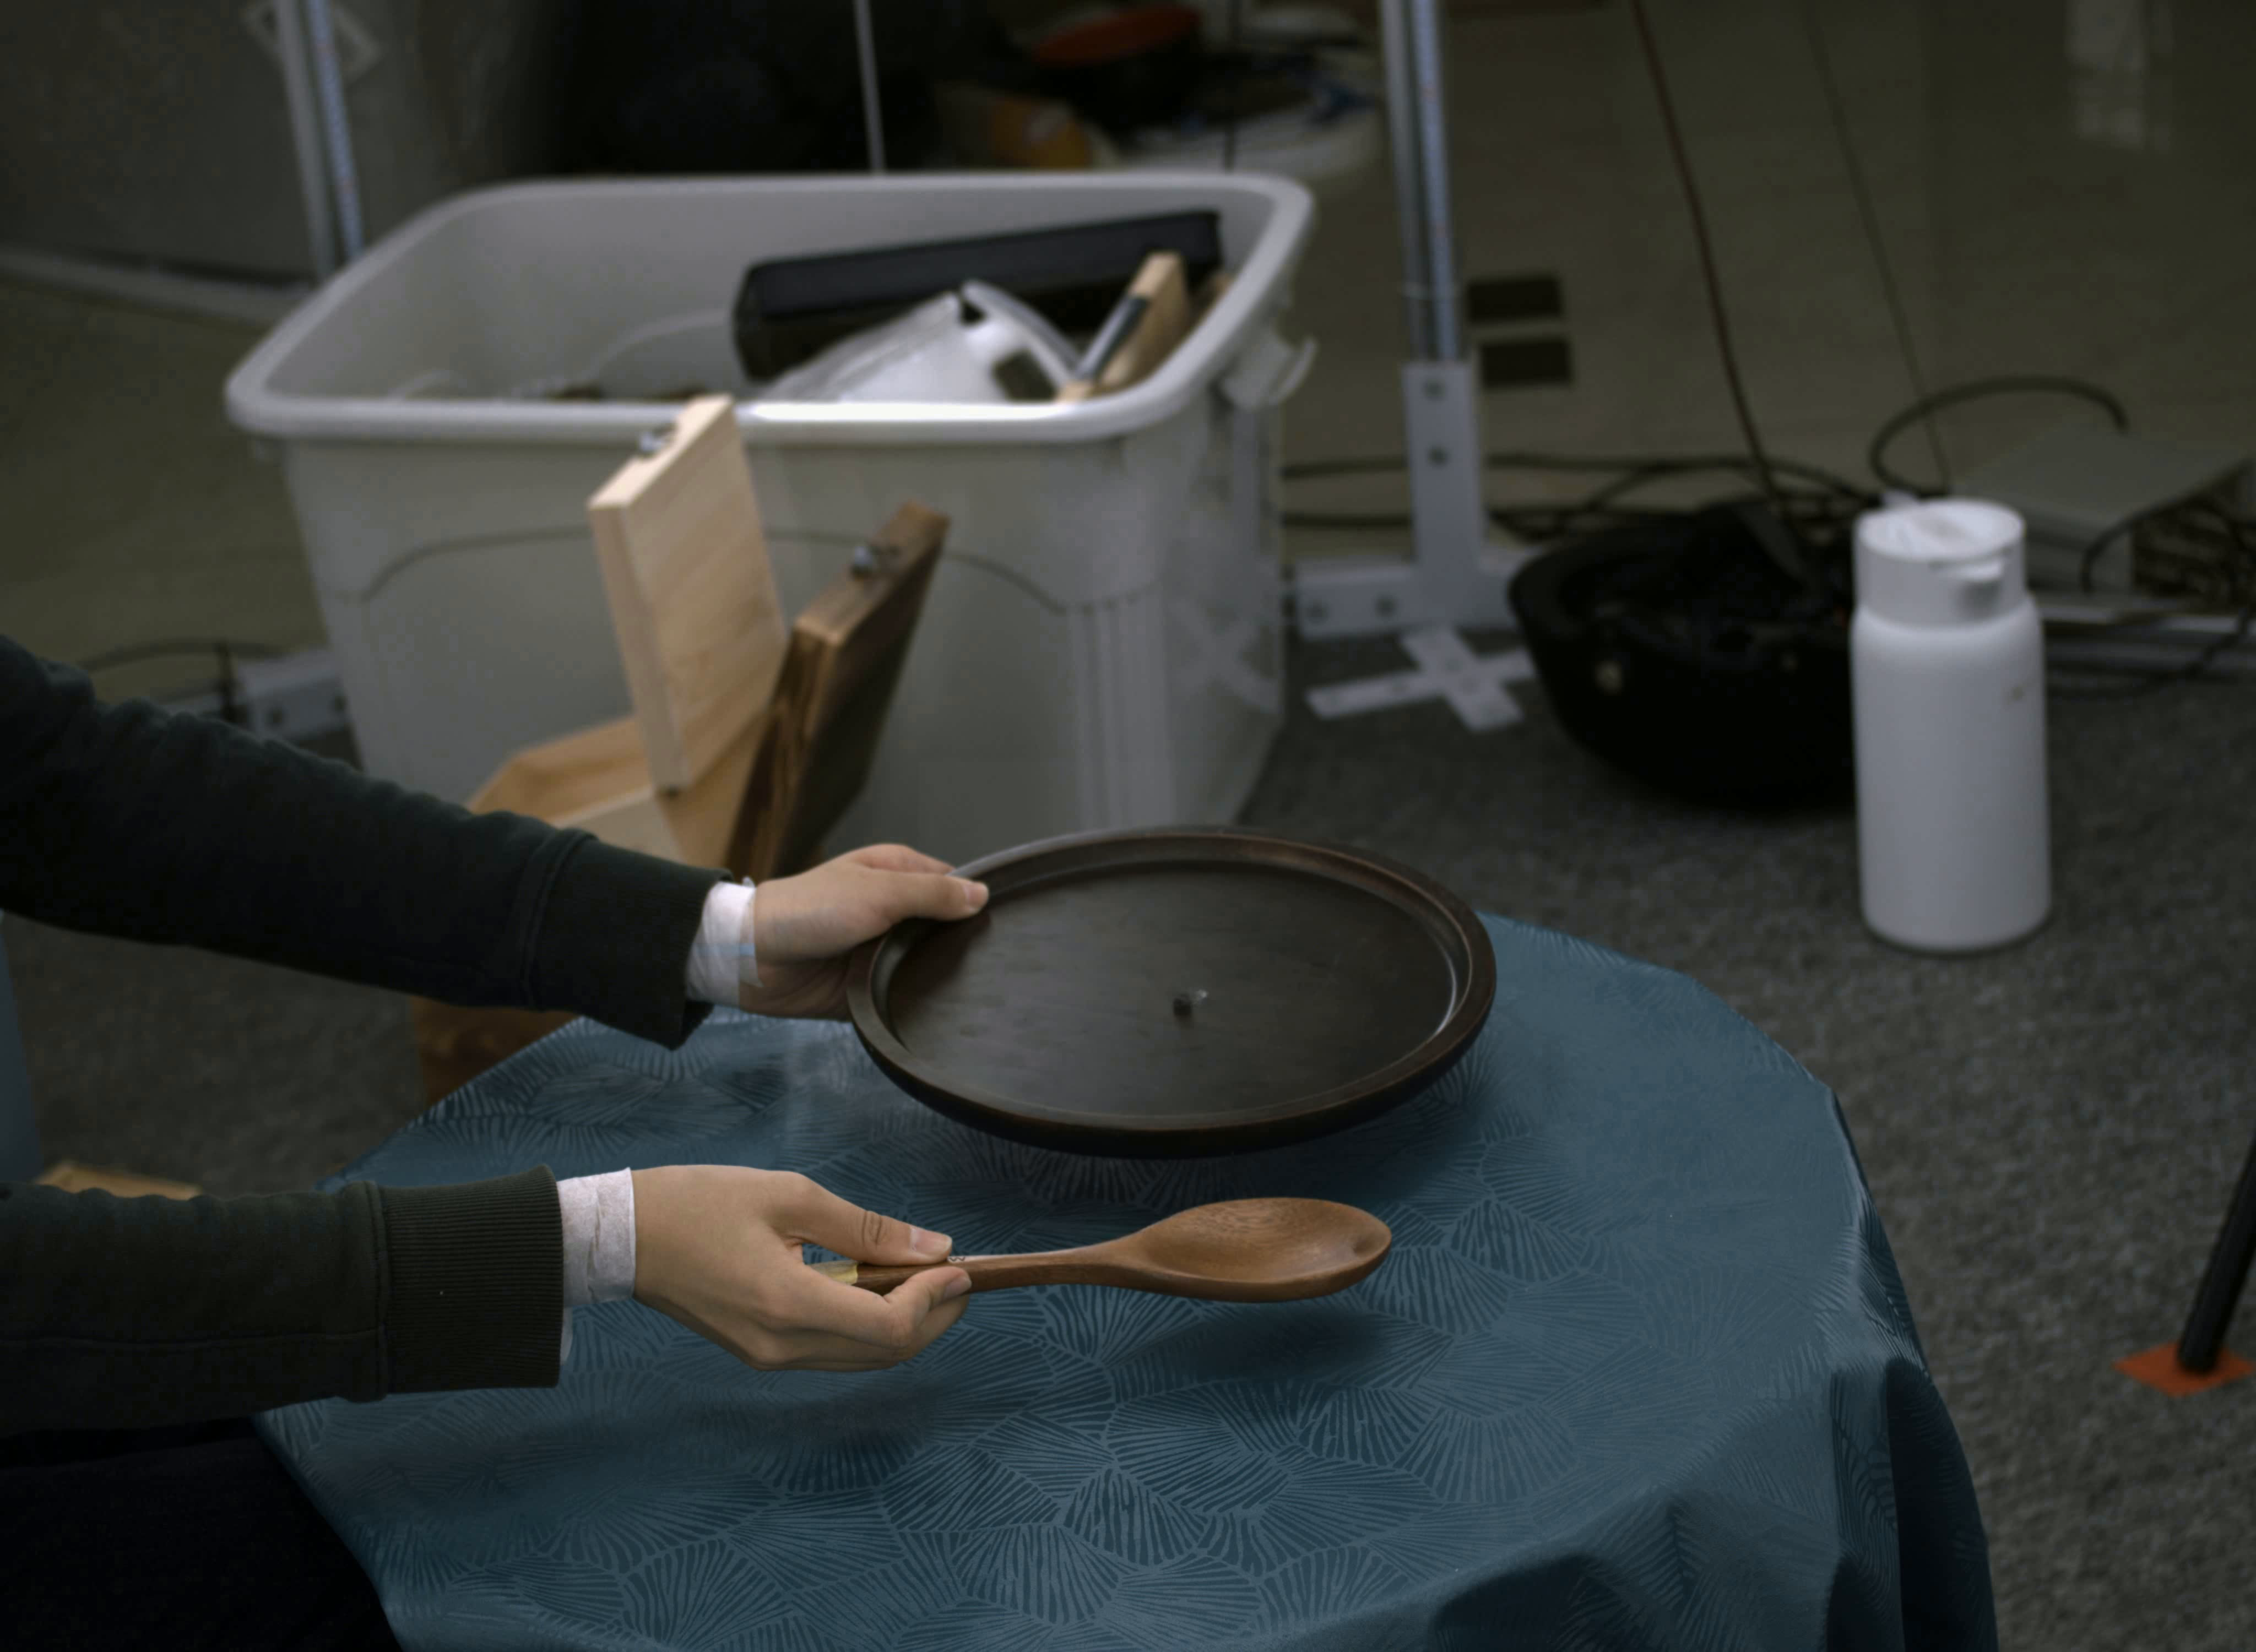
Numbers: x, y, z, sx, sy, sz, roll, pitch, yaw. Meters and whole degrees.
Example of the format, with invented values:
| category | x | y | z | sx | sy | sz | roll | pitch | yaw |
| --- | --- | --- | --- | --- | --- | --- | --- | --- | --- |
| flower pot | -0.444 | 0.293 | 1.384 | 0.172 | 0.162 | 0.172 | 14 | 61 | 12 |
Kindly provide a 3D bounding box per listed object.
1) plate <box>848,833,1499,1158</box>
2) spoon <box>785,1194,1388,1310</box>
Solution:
| category | x | y | z | sx | sy | sz | roll | pitch | yaw |
| --- | --- | --- | --- | --- | --- | --- | --- | --- | --- |
| plate | 0.017 | 0.064 | 2.196 | 0.254 | 0.029 | 0.251 | -1 | 26 | 1 |
| spoon | -0.014 | 0.157 | 2.016 | 0.215 | 0.017 | 0.074 | -3 | 22 | -7 |
